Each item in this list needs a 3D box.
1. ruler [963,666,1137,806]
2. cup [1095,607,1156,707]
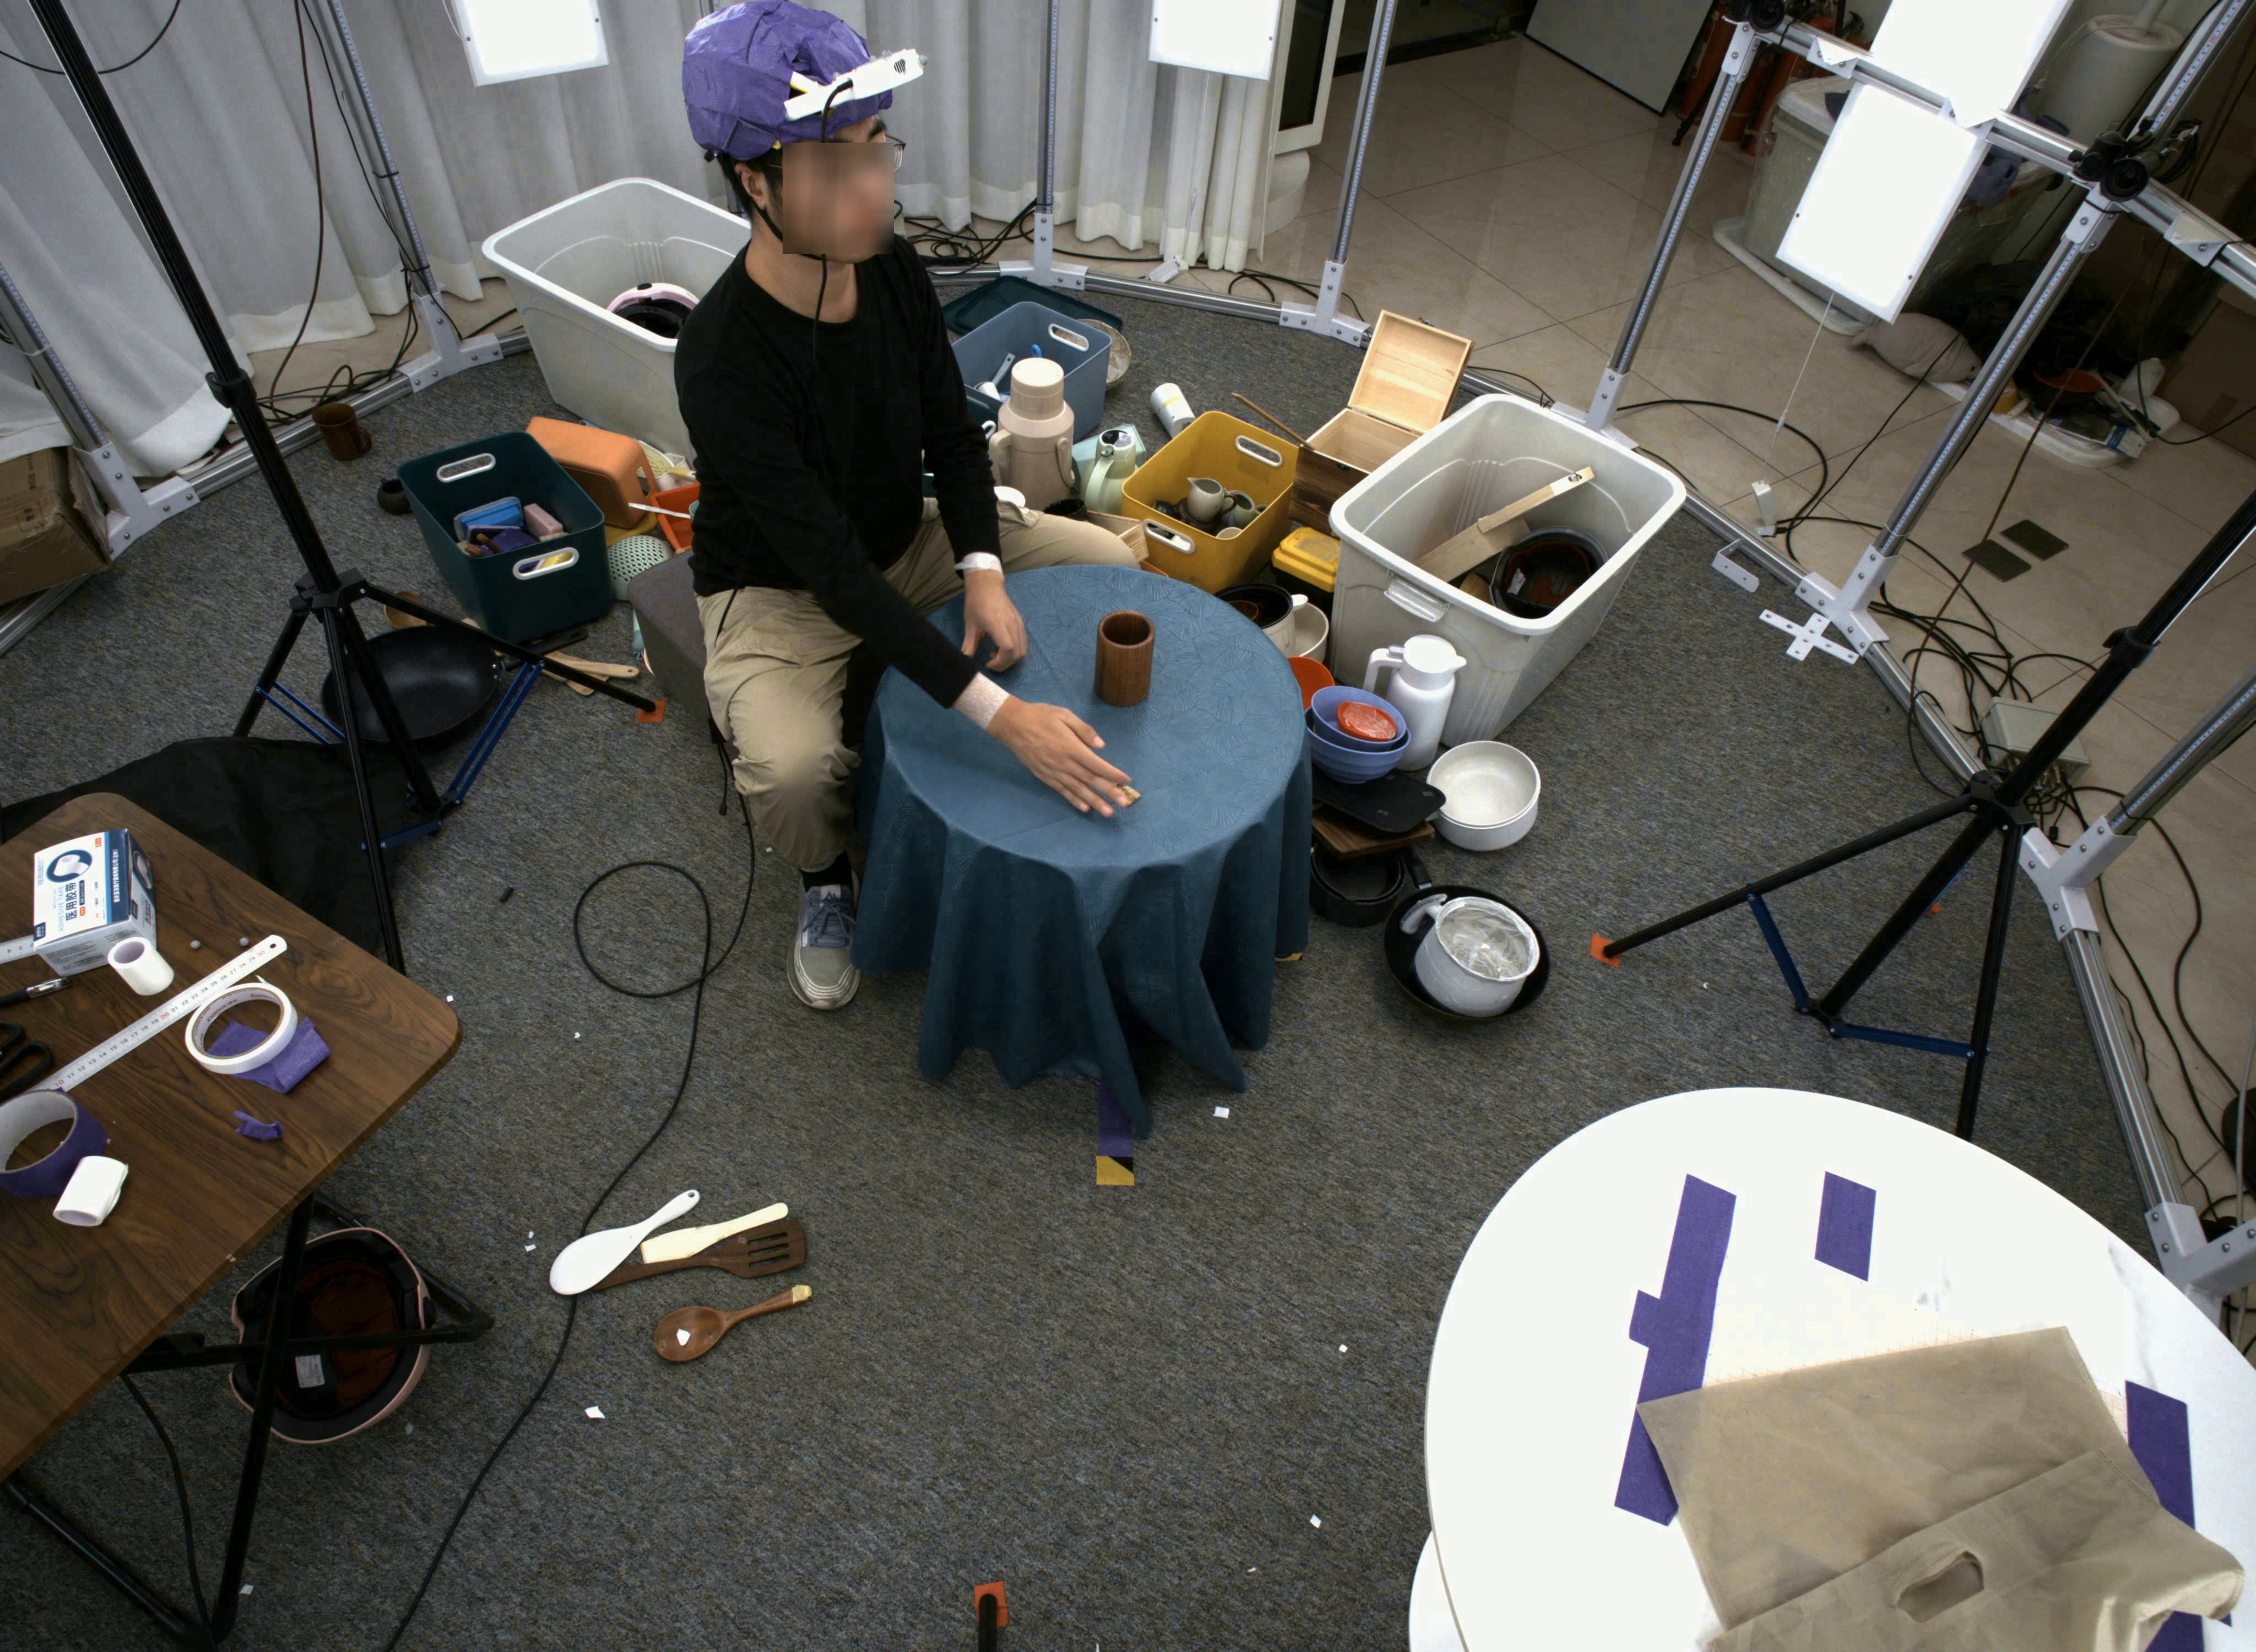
[{"bbox_3d":[-0.112,-0.131,1.770,0.028,0.022,0.337,-30,57,-35],"label":"ruler"},{"bbox_3d":[-0.005,-0.236,1.799,0.087,0.115,0.090,2,48,-3],"label":"cup"}]
